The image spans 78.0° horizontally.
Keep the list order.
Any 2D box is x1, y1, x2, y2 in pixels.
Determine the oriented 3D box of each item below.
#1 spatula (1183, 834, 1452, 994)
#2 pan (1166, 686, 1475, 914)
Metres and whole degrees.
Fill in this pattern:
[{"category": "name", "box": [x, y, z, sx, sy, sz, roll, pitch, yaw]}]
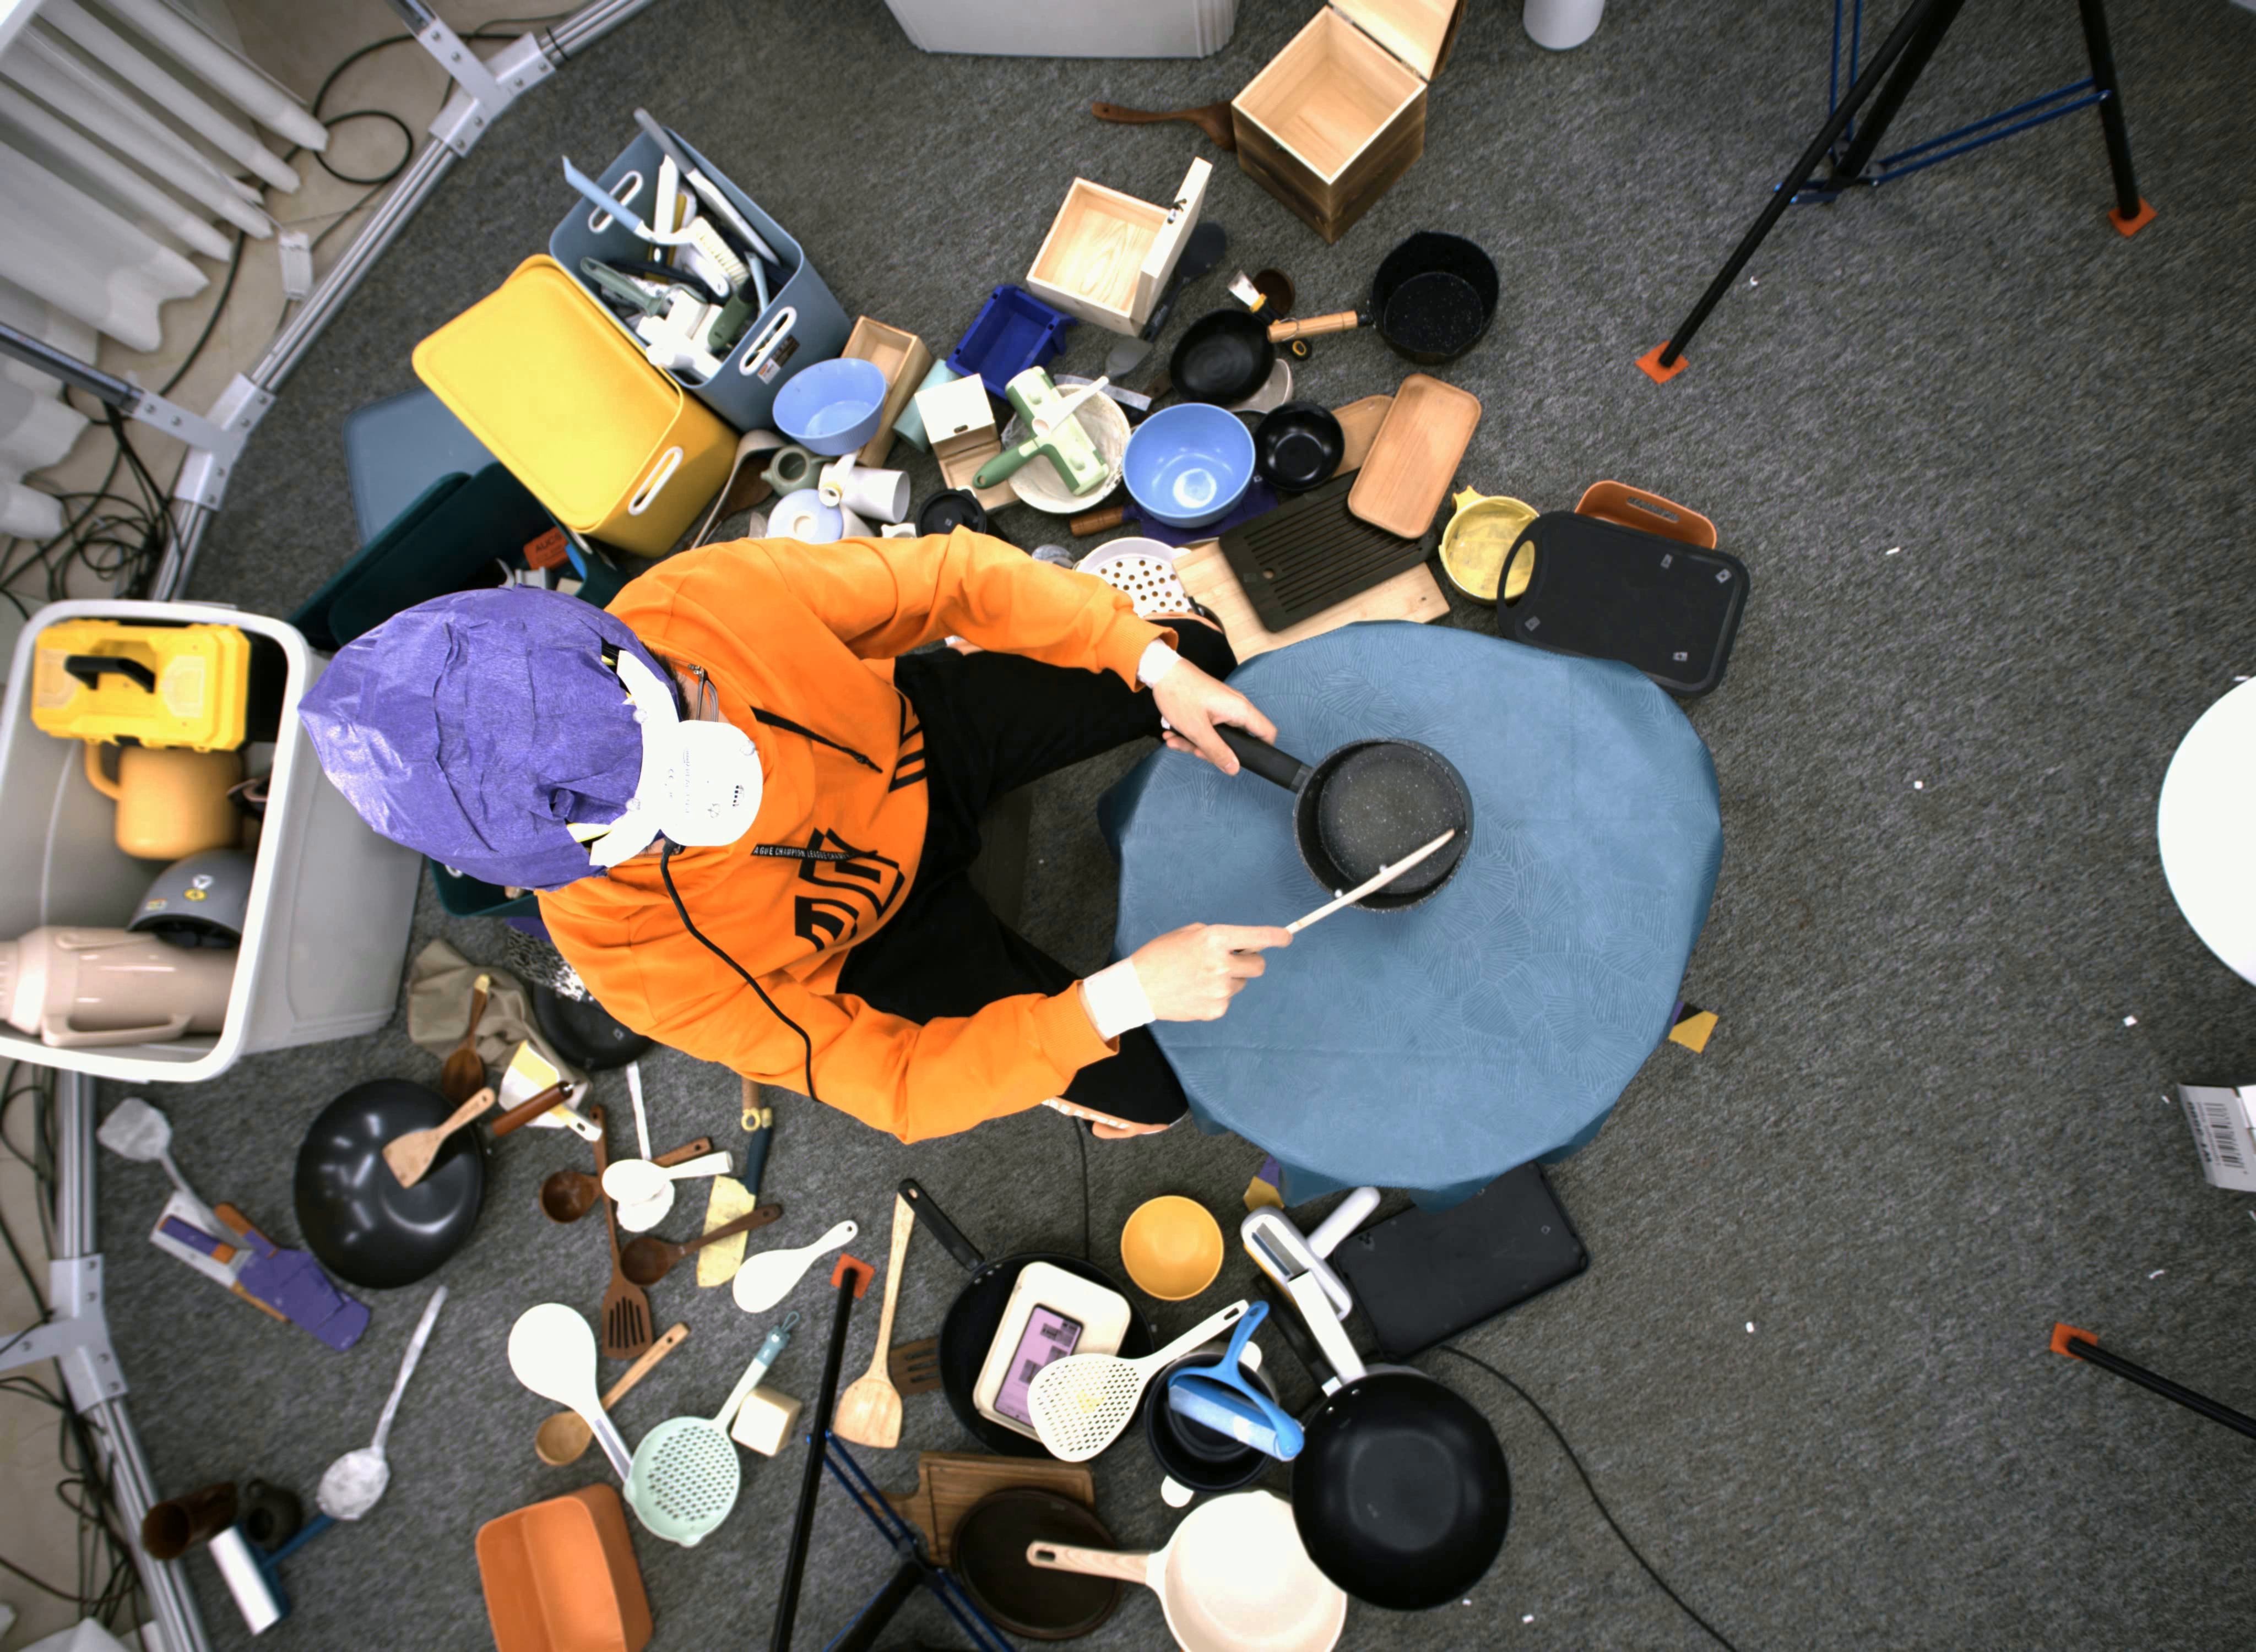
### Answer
[{"category": "spatula", "box": [0.178, 0.084, 1.301, 0.292, 0.073, 0.010, -29, 81, -7]}, {"category": "pan", "box": [0.189, -0.045, 1.376, 0.328, 0.085, 0.174, 32, 108, 13]}]
